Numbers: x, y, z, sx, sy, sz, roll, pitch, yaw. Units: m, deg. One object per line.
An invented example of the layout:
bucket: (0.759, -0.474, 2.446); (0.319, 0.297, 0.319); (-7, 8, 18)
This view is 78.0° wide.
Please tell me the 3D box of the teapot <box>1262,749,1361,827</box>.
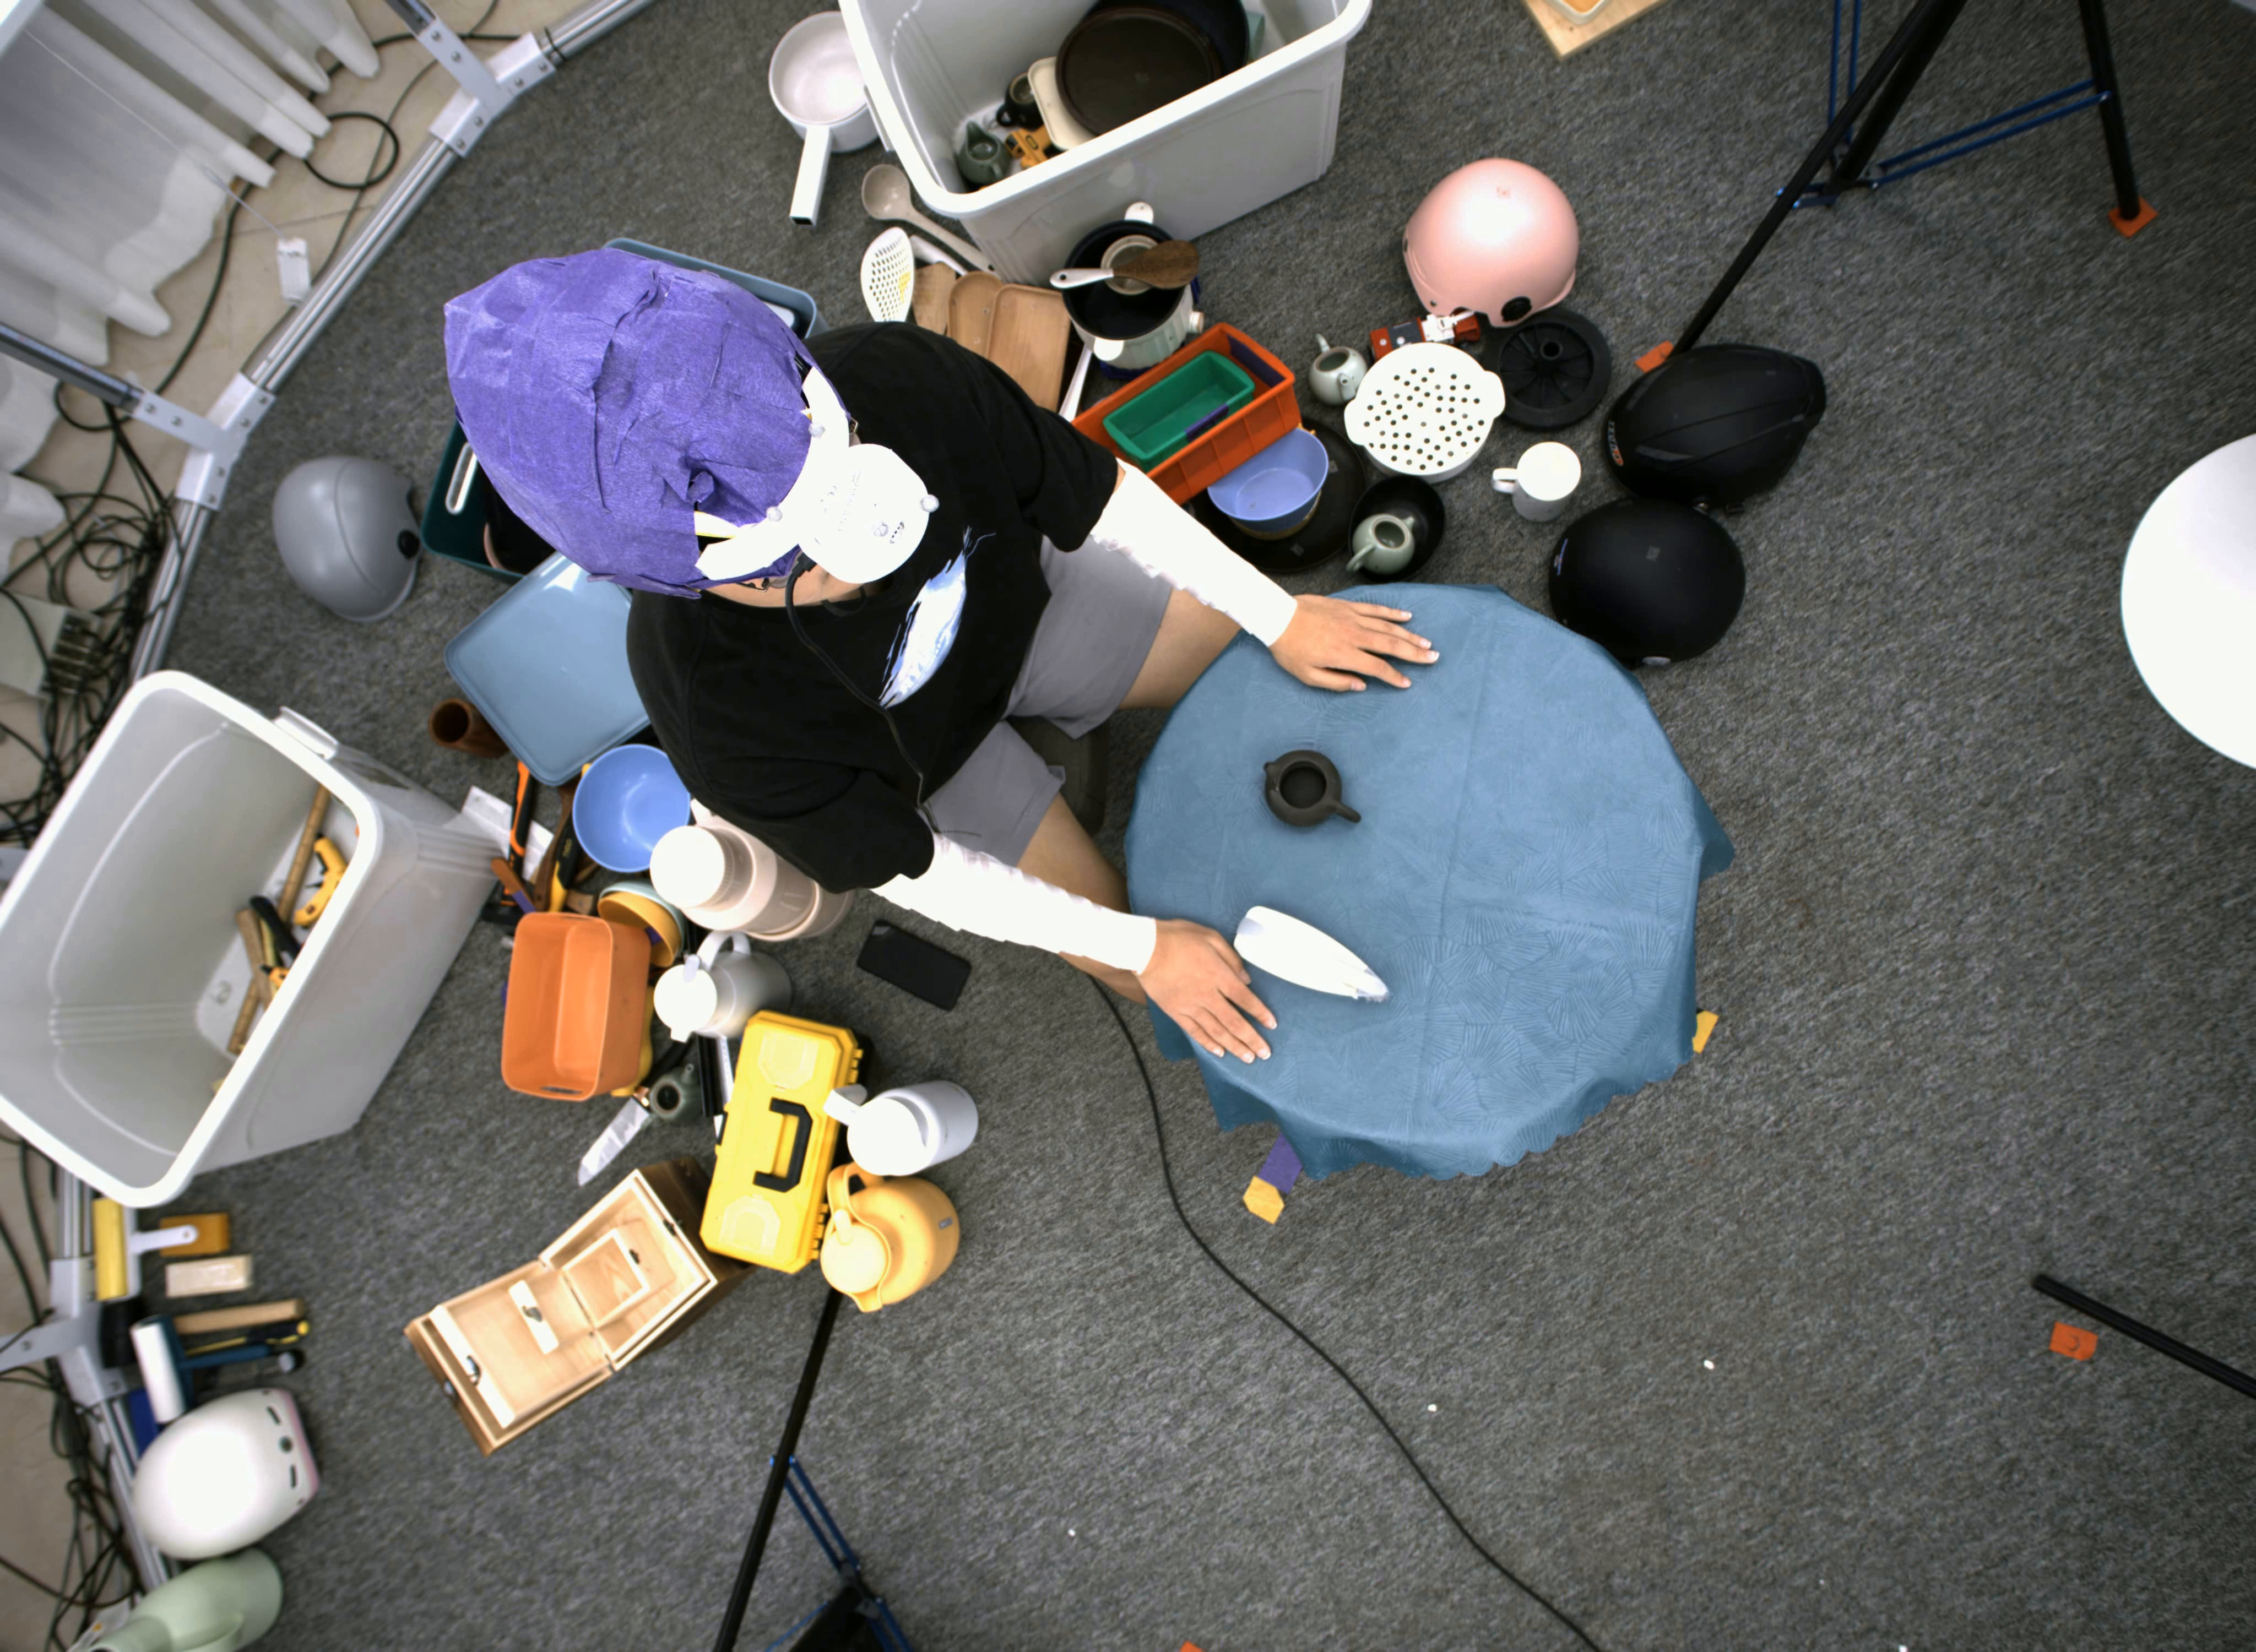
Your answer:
teapot: (0.194, -0.035, 1.453); (0.114, 0.053, 0.083); (31, 92, 13)

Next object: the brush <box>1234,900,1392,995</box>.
brush: (0.191, 0.133, 1.424); (0.175, 0.094, 0.061); (25, 93, 10)
